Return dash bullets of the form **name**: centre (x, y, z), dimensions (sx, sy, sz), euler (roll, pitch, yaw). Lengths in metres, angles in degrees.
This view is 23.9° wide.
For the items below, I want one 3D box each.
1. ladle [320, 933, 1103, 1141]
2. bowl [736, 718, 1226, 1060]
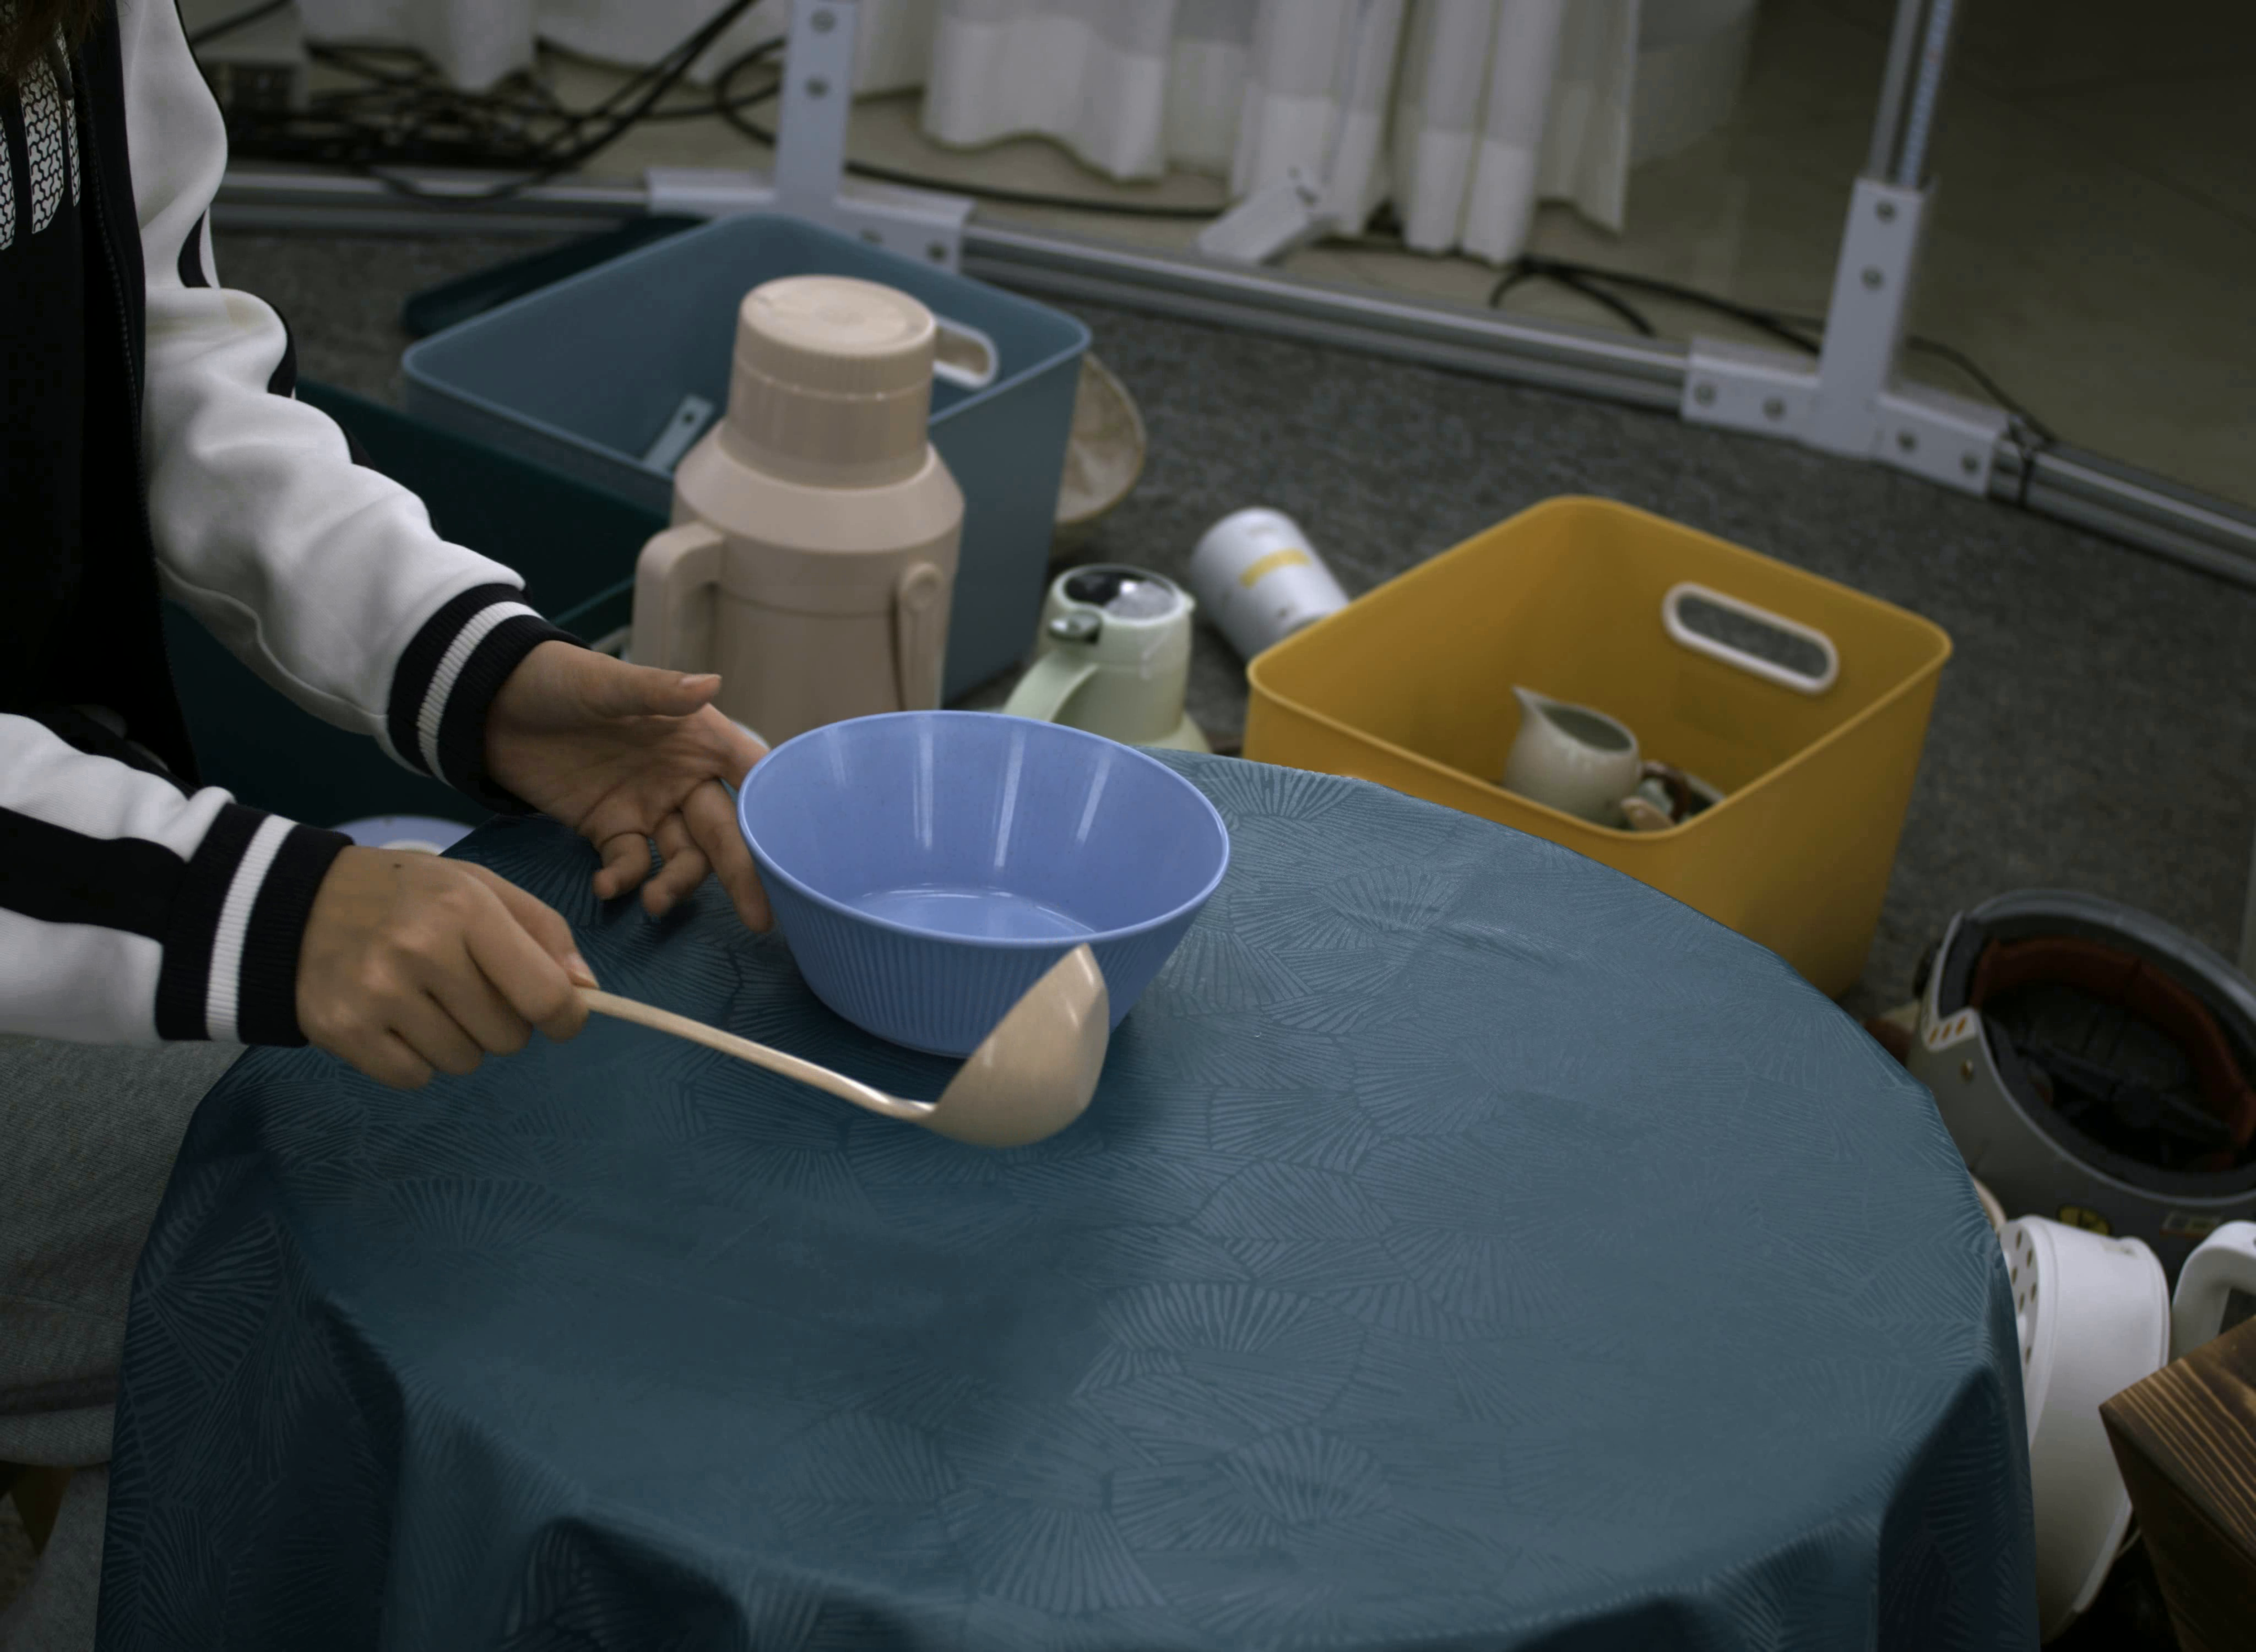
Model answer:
- **ladle**: centre (-0.132, 0.041, 1.710), dimensions (0.254, 0.073, 0.072), euler (15, 3, 9)
- **bowl**: centre (-0.055, 0.028, 1.900), dimensions (0.175, 0.070, 0.177), euler (6, 26, -3)
